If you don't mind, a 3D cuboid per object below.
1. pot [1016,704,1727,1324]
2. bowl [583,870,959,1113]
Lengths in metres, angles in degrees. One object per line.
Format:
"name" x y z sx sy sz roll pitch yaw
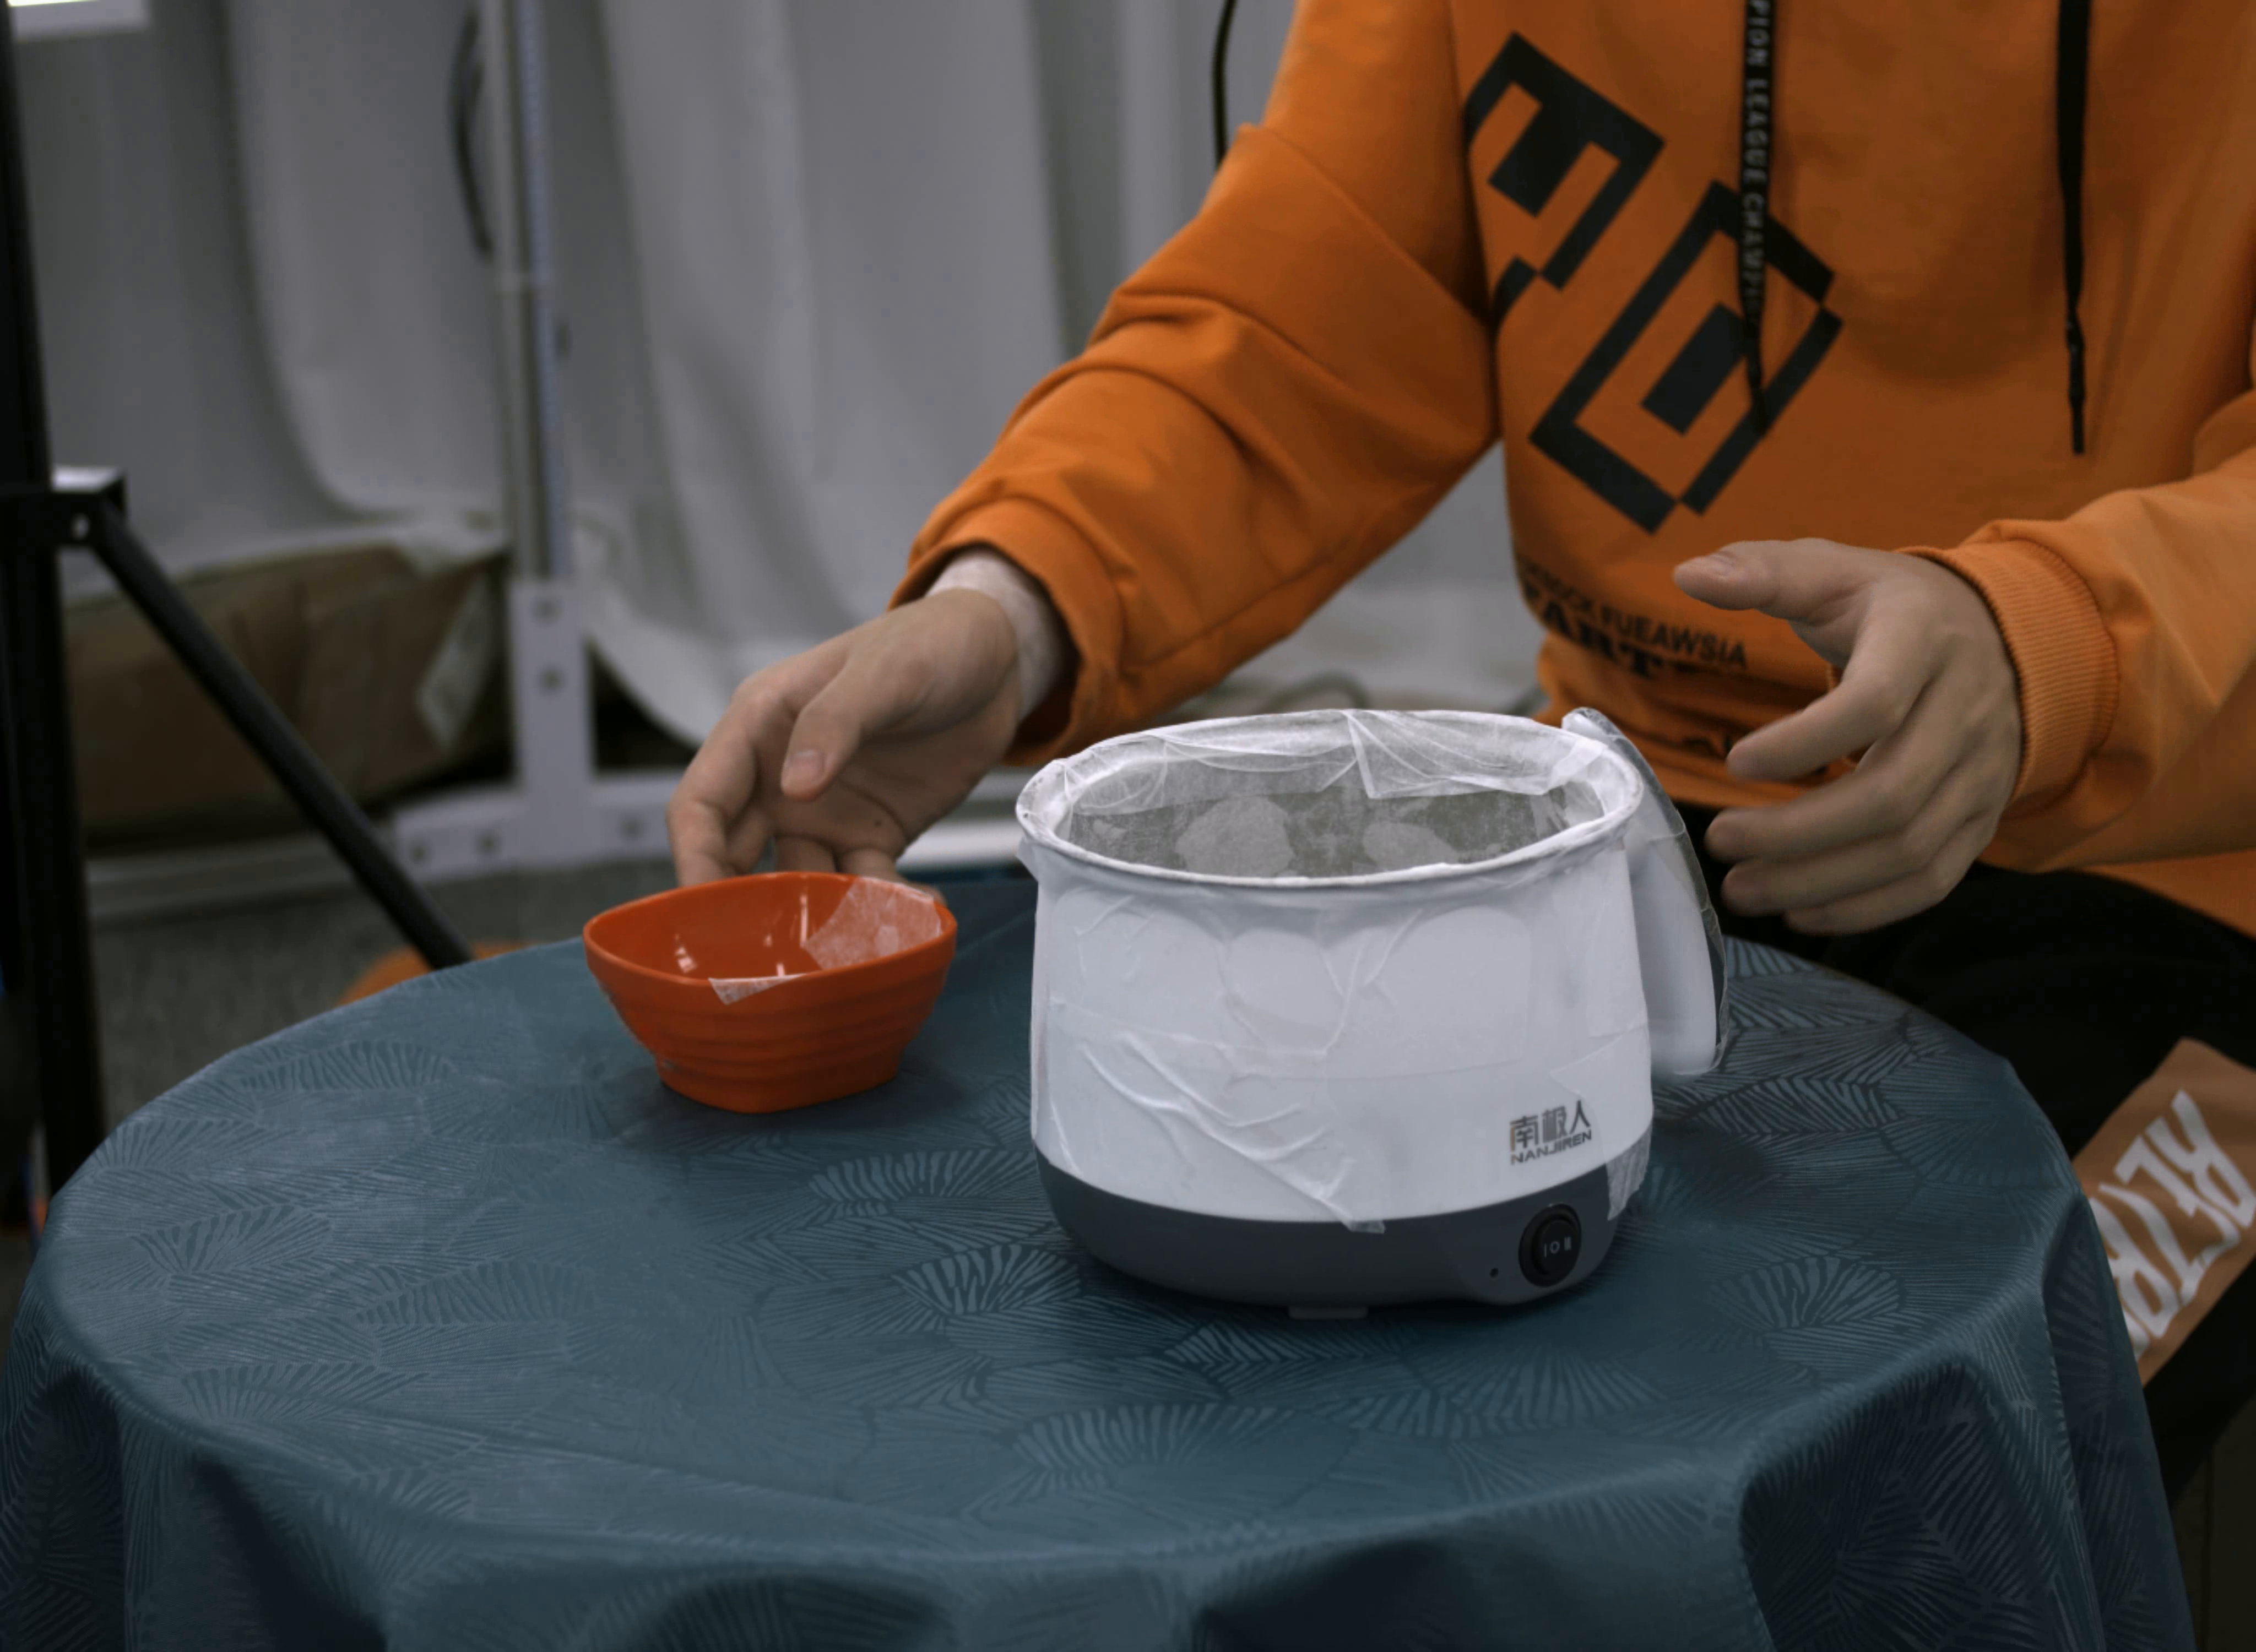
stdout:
"pot" 0.080 0.045 1.514 0.228 0.136 0.183 -15 20 -37
"bowl" -0.110 0.054 1.673 0.118 0.051 0.119 -4 15 0
